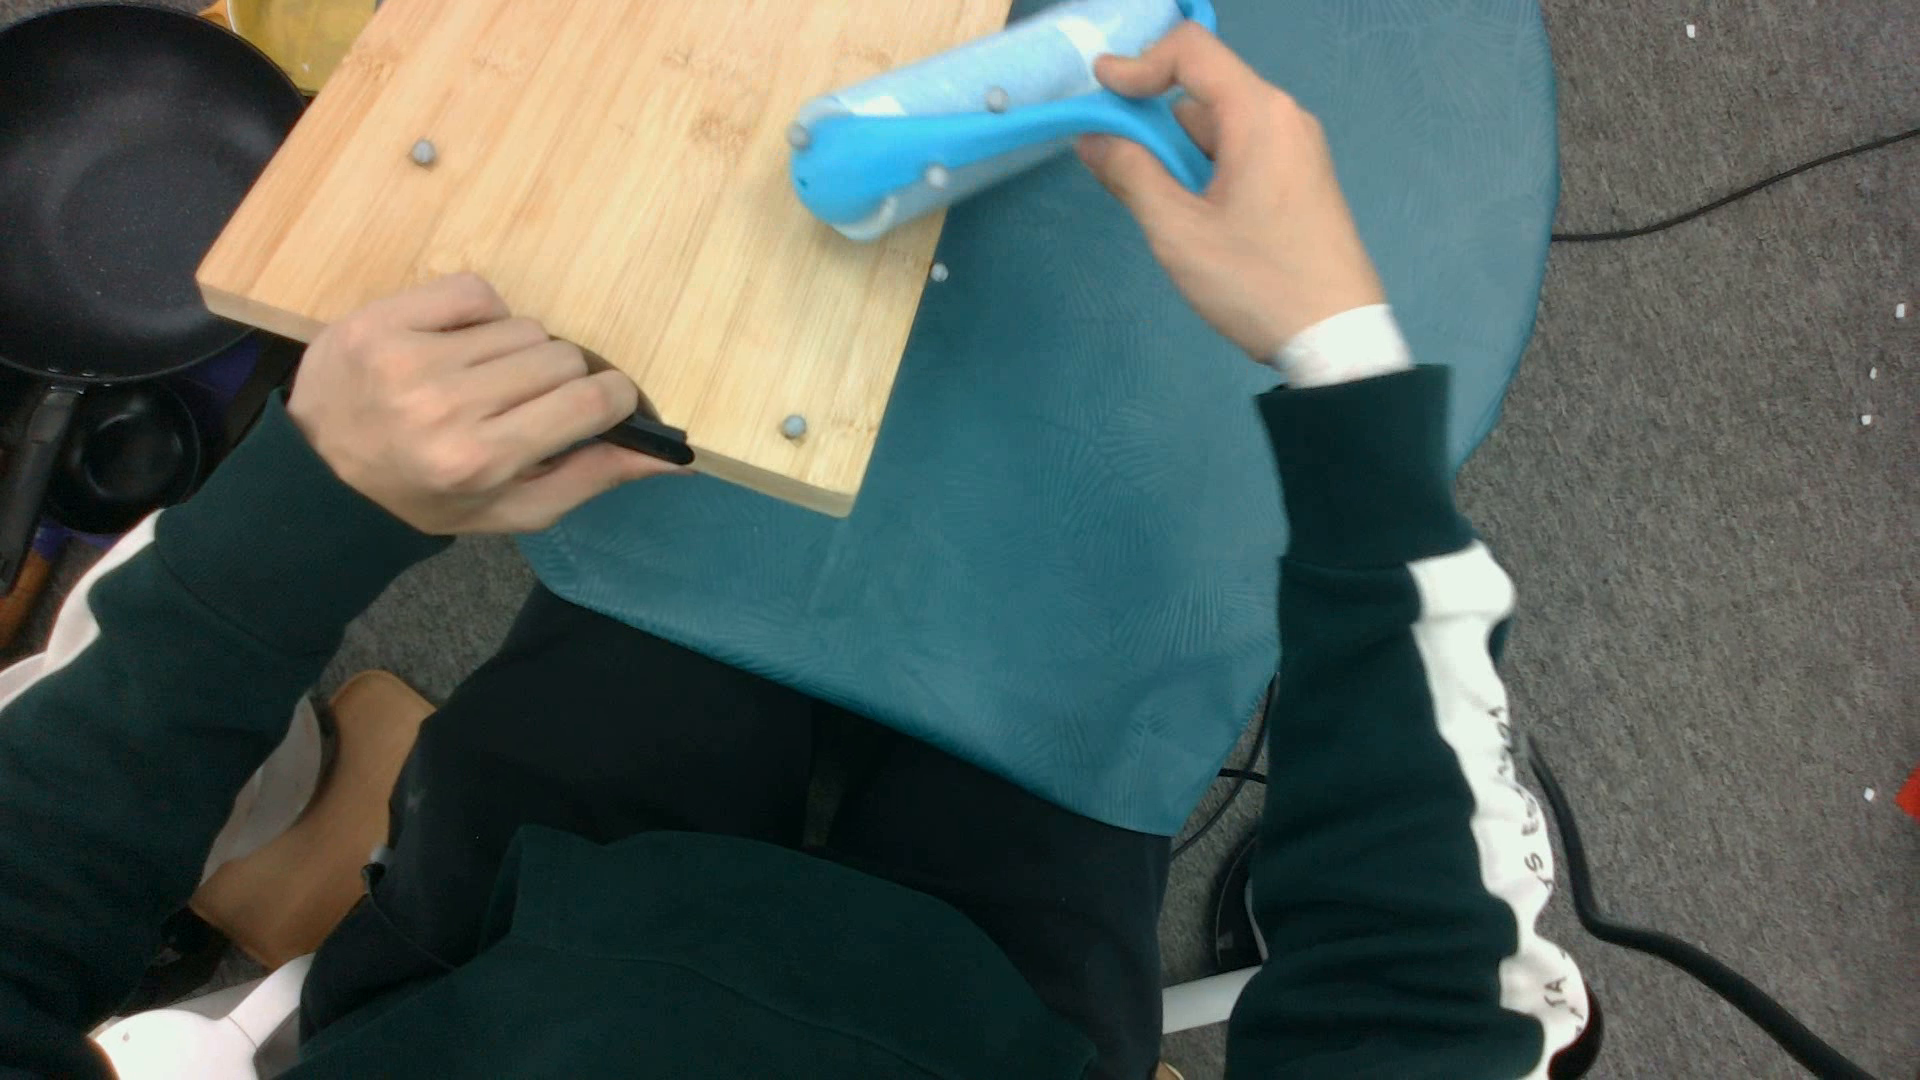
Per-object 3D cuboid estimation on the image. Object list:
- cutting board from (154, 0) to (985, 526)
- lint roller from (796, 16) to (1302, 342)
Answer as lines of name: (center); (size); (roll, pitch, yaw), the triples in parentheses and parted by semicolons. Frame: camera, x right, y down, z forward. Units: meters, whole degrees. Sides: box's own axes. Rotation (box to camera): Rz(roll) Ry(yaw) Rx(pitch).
cutting board: (-0.129, -0.185, 0.580); (0.251, 0.023, 0.350); (16, 58, -7)
lint roller: (0.064, -0.146, 0.556); (0.180, 0.067, 0.230); (29, 43, 22)
